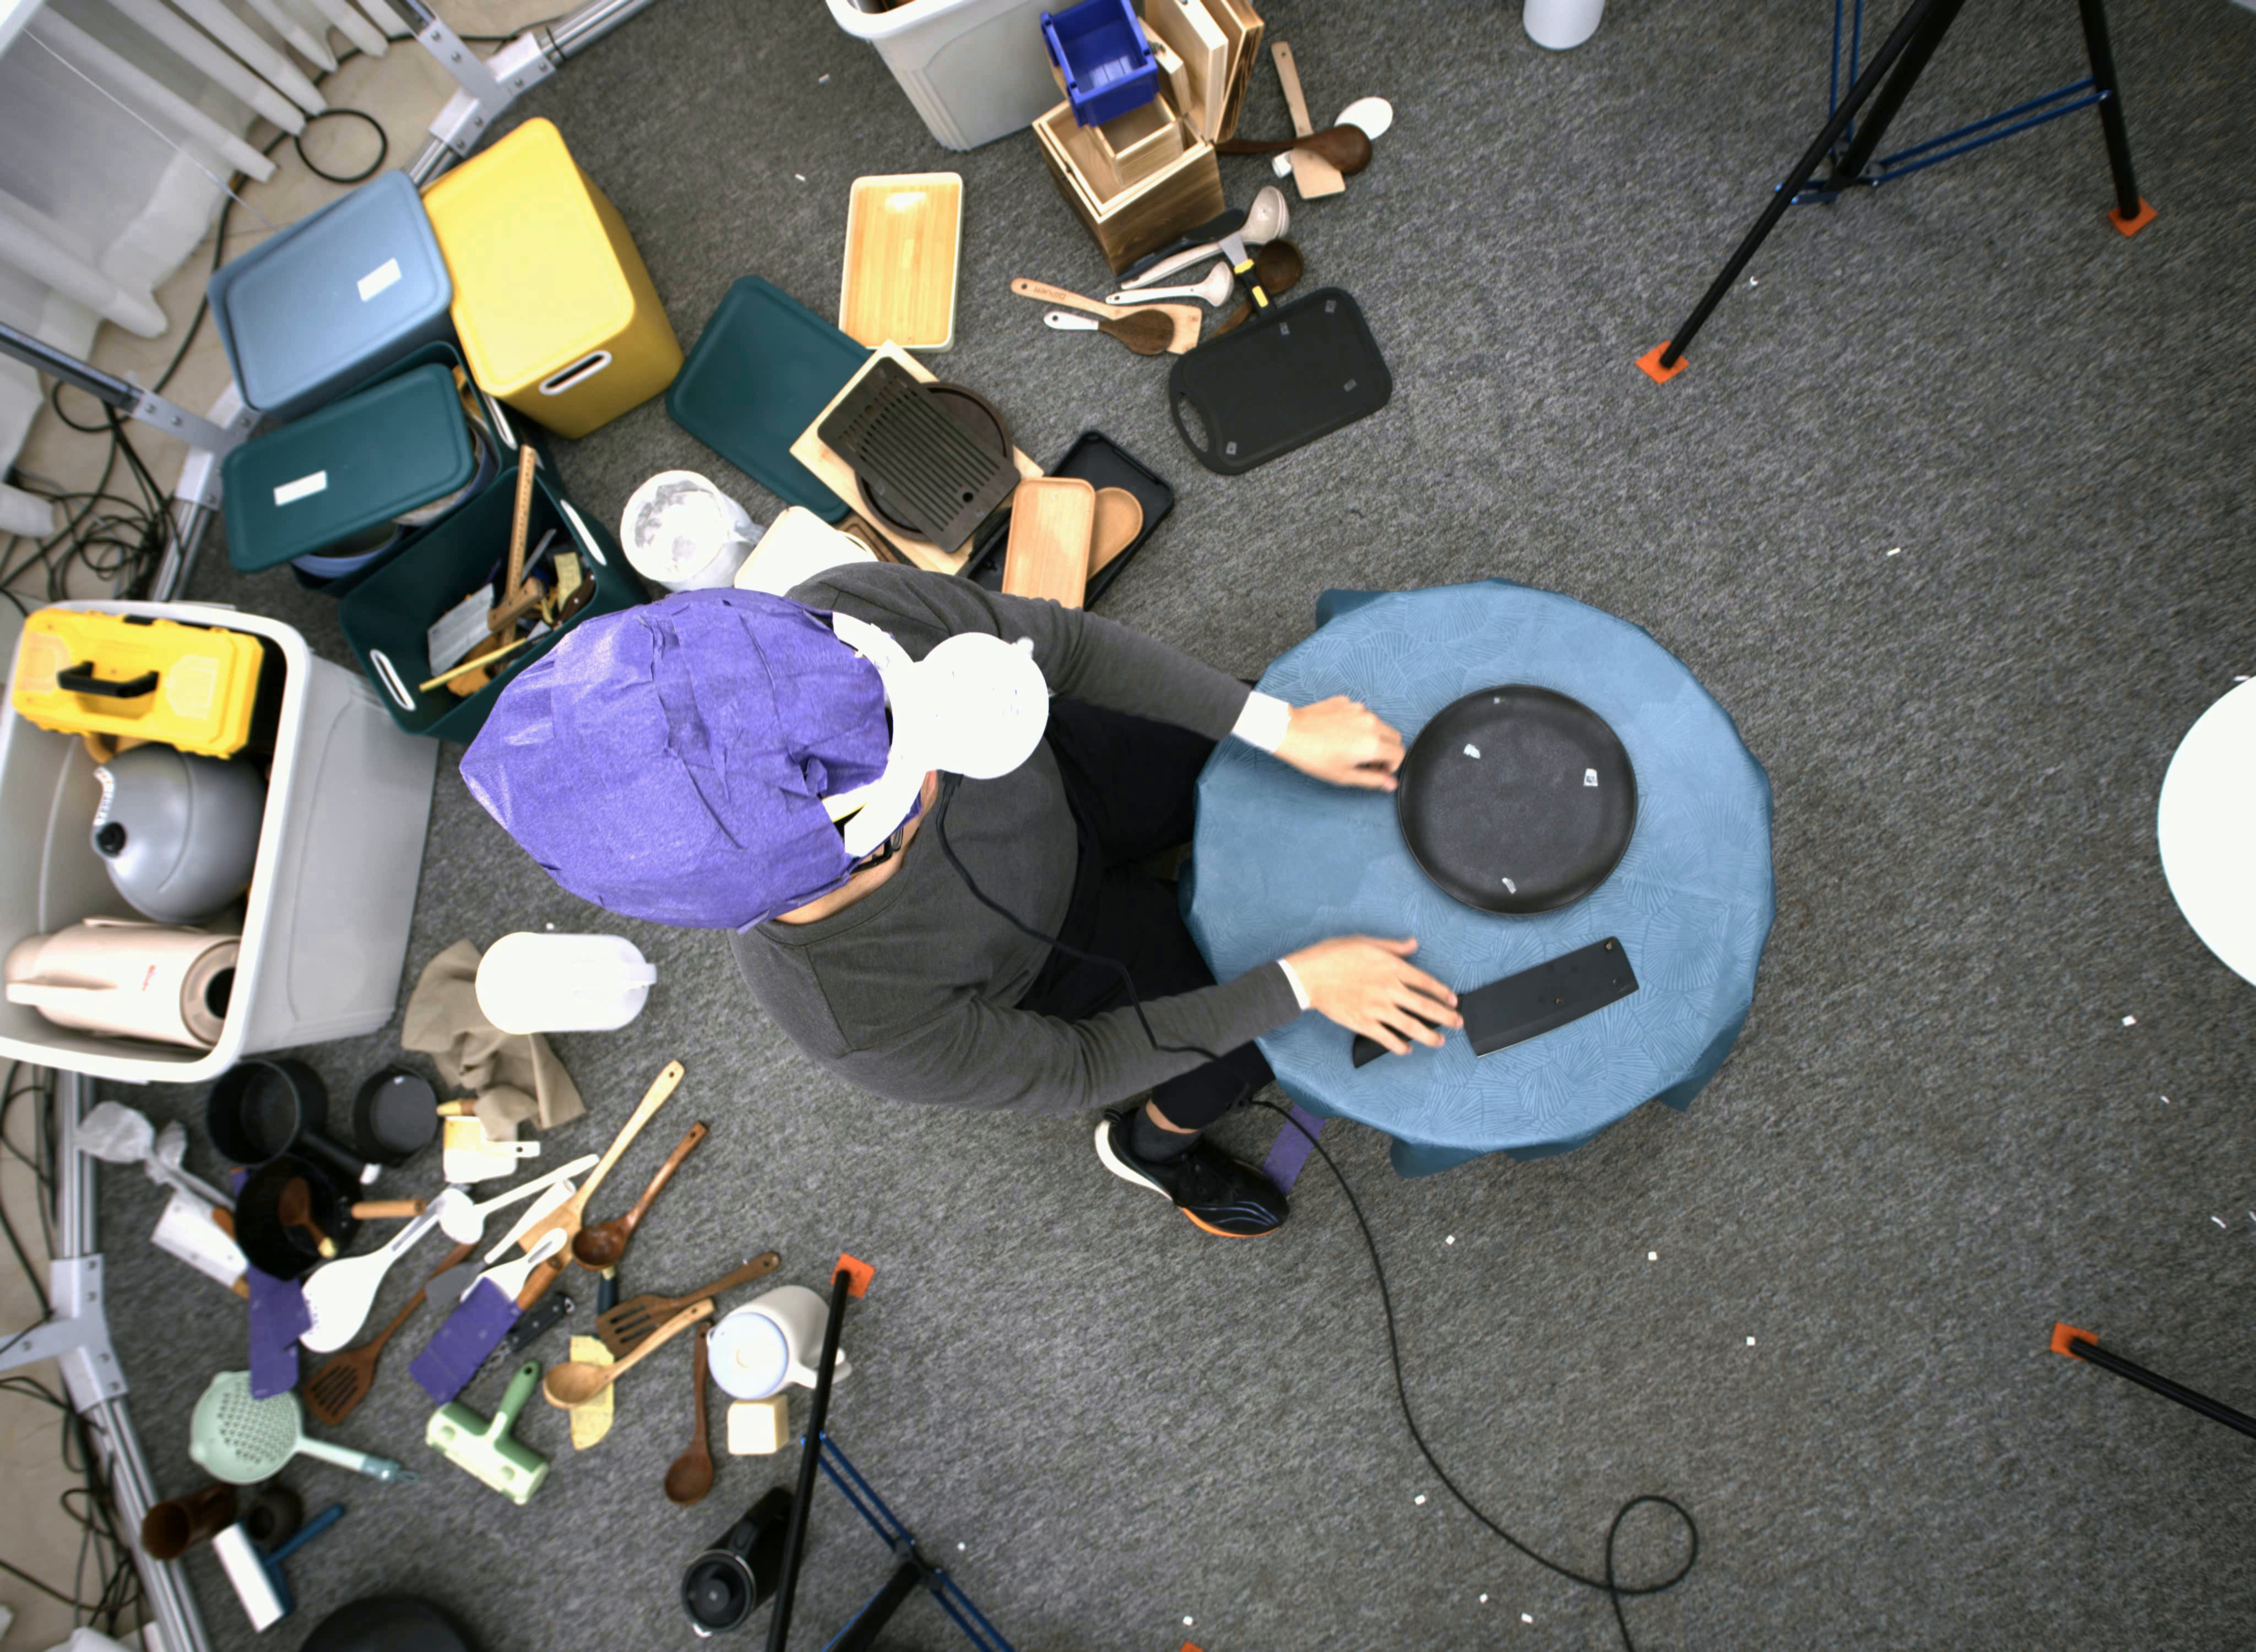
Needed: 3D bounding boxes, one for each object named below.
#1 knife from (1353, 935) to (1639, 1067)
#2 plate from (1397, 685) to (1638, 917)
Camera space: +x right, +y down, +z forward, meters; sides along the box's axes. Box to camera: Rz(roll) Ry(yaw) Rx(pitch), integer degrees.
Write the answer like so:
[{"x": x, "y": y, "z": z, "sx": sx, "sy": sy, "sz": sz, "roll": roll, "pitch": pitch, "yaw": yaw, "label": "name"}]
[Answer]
[{"x": 0.376, "y": 0.191, "z": 1.427, "sx": 0.304, "sy": 0.021, "sz": 0.080, "roll": -18, "pitch": 84, "yaw": 7, "label": "knife"}, {"x": 0.404, "y": -0.028, "z": 1.429, "sx": 0.245, "sy": 0.023, "sz": 0.243, "roll": -1, "pitch": 87, "yaw": 11, "label": "plate"}]
